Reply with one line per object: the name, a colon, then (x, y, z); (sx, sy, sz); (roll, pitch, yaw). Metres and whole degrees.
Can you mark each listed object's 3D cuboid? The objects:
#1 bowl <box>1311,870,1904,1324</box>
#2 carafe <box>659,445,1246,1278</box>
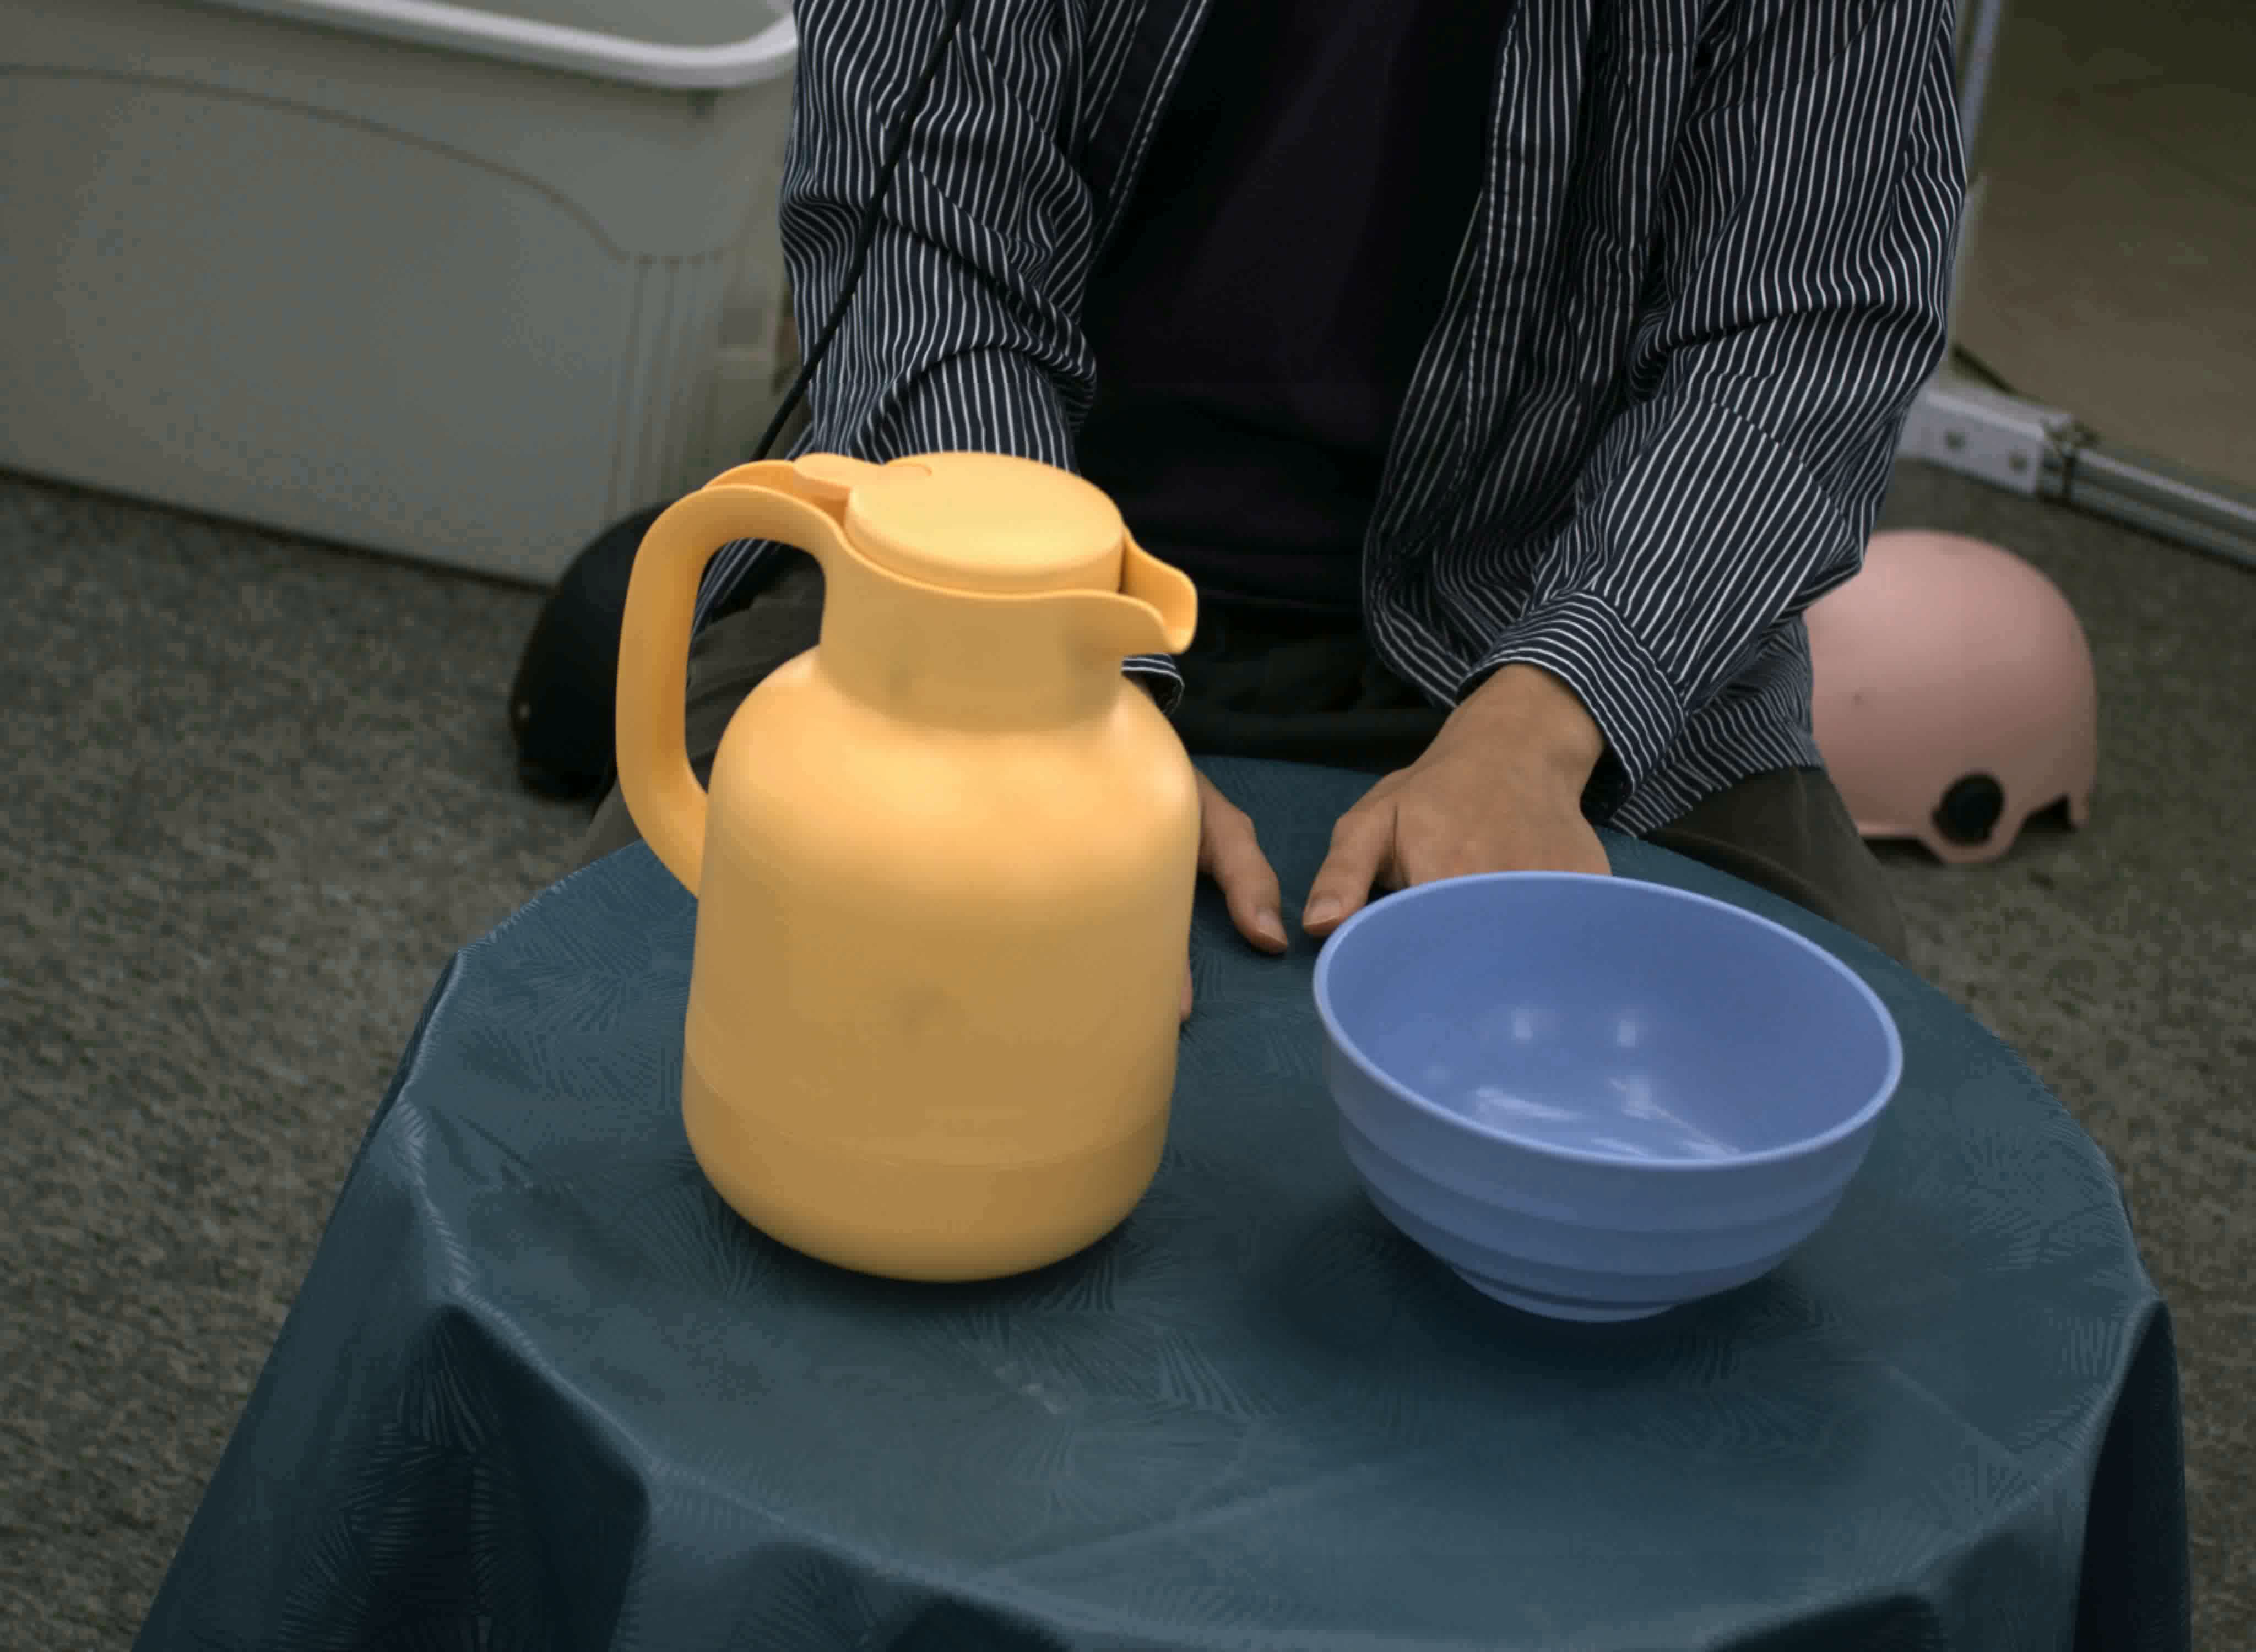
bowl: (0.153, 0.102, 1.771); (0.196, 0.095, 0.197); (5, 27, -3)
carafe: (-0.060, 0.002, 1.741); (0.203, 0.259, 0.163); (16, 28, 21)
